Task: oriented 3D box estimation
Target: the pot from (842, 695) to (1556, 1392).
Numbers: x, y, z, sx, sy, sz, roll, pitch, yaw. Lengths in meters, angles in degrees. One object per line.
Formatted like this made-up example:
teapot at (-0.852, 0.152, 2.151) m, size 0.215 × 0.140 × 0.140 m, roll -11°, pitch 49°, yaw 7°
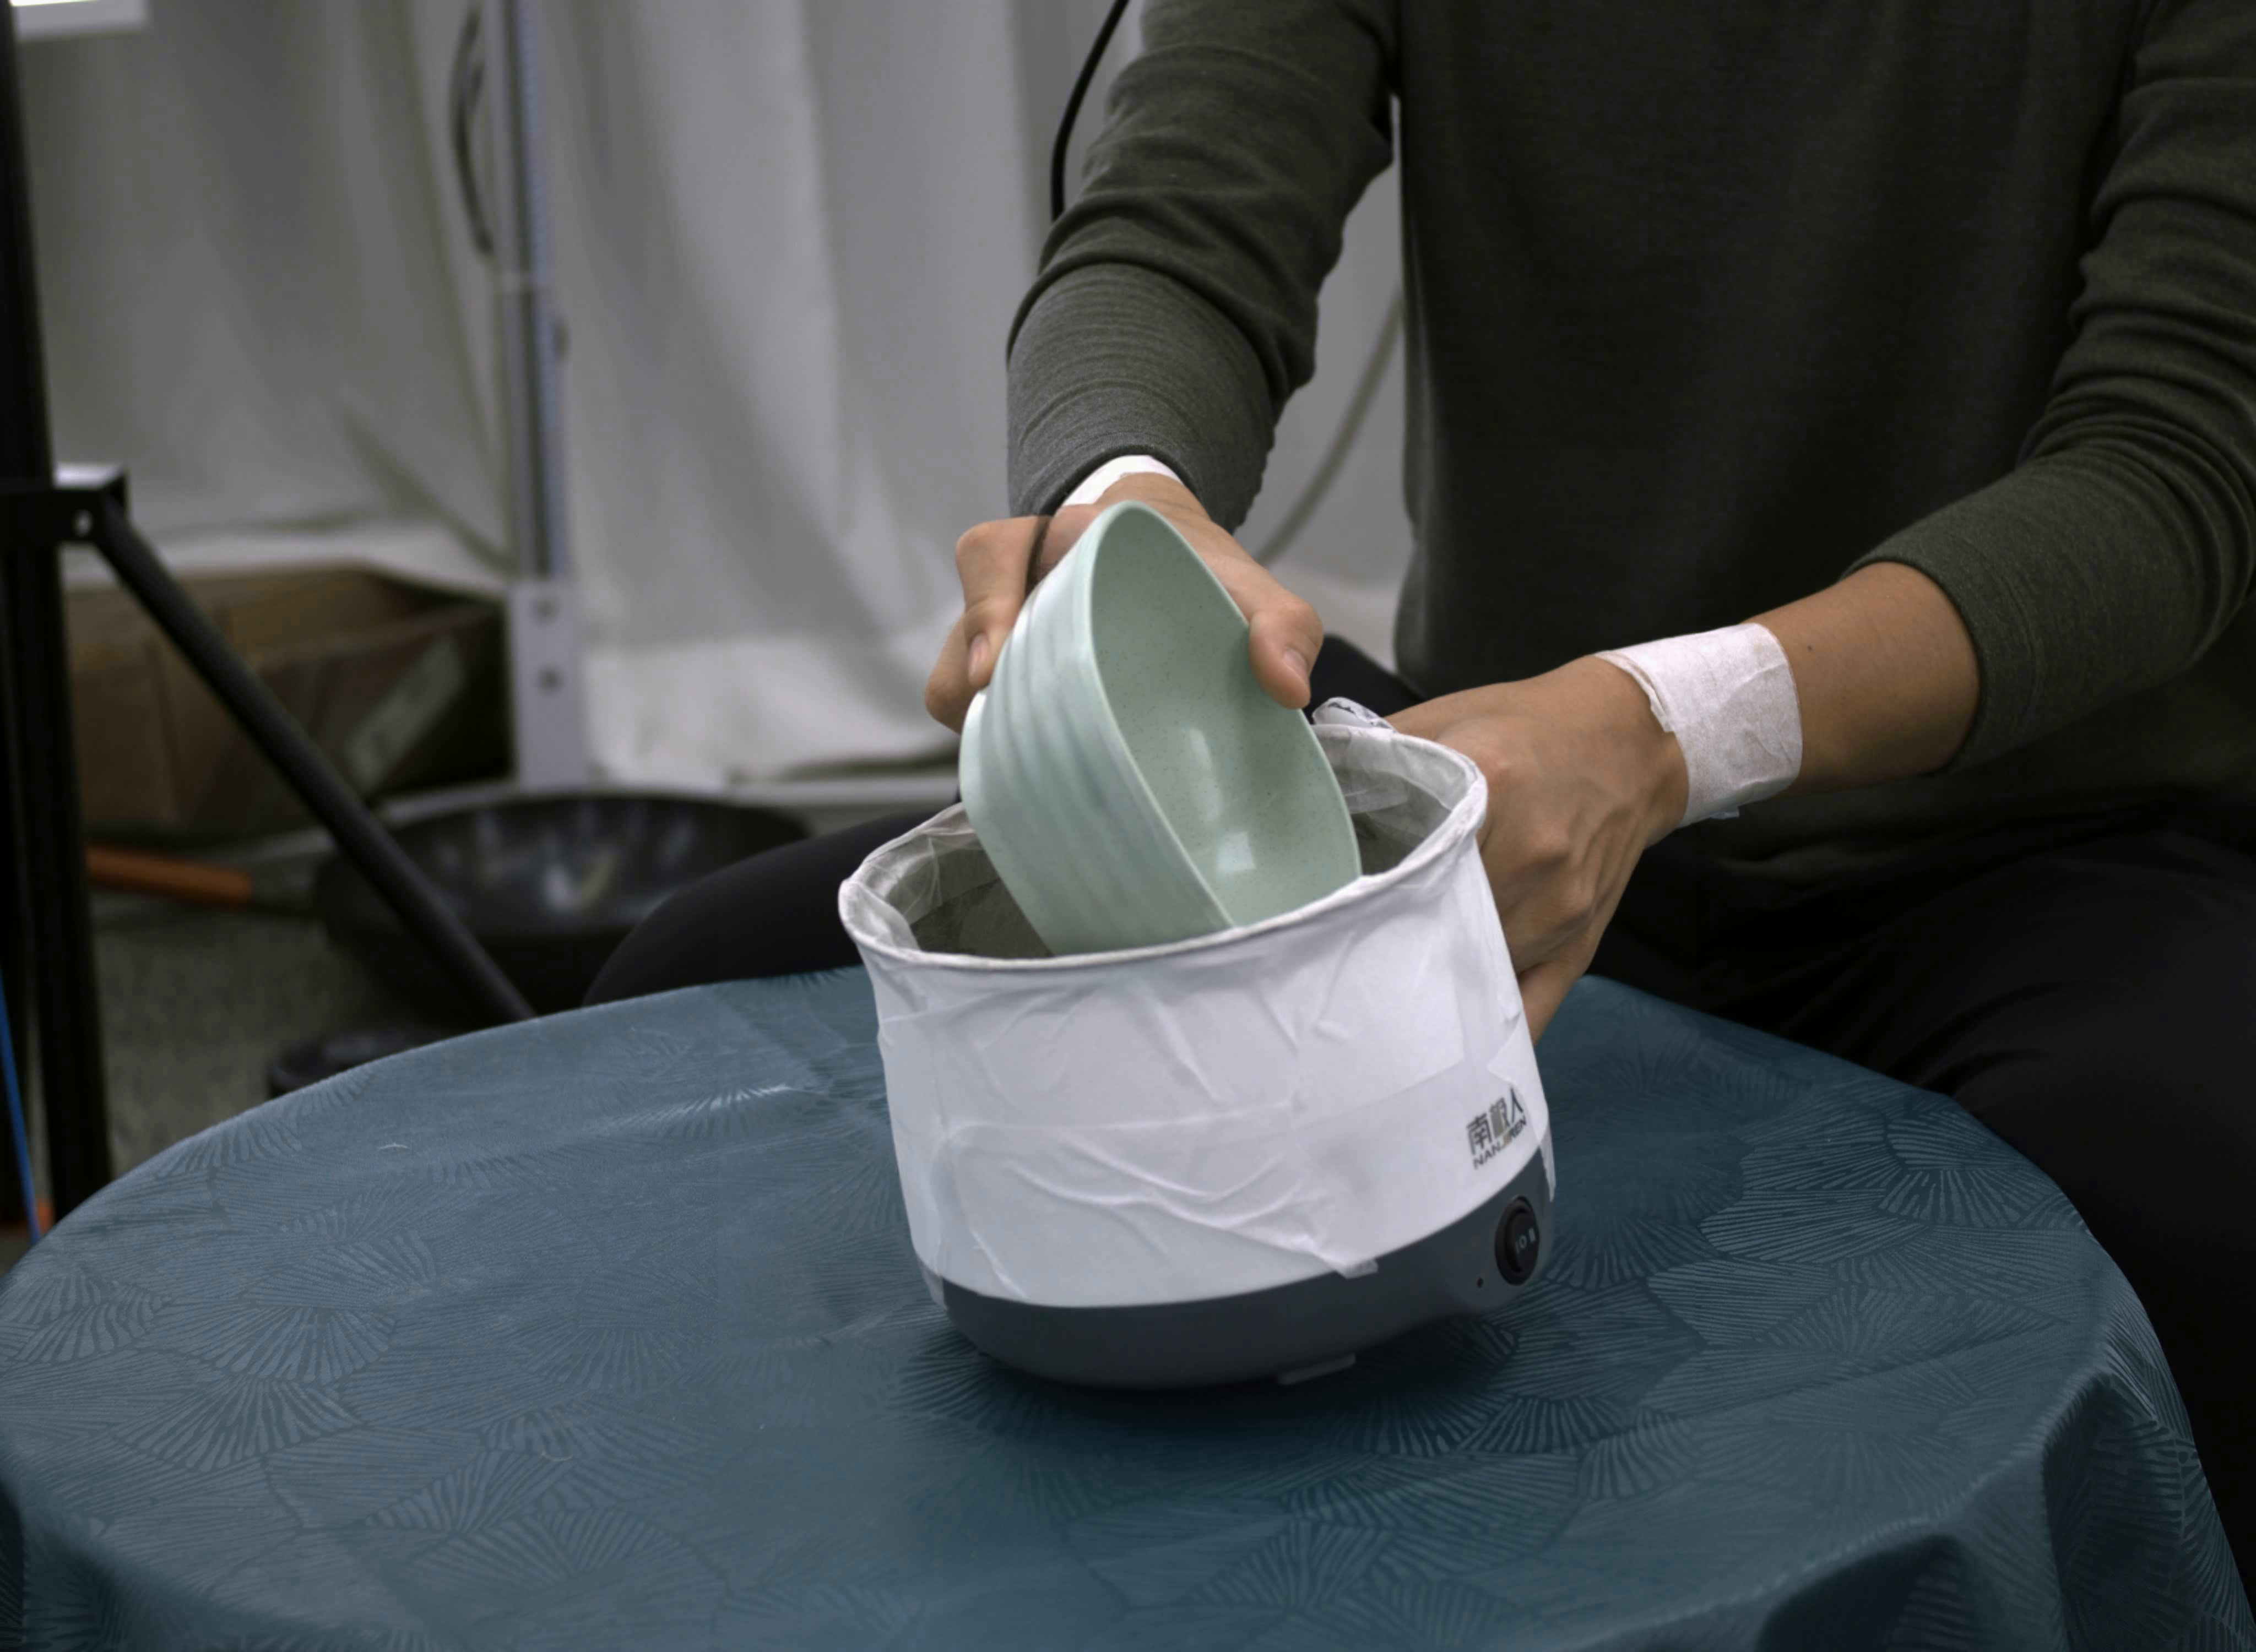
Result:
pot at (0.035, 0.053, 1.452) m, size 0.182 × 0.136 × 0.230 m, roll 0°, pitch 21°, yaw 33°

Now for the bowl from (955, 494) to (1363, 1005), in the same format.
bowl at (0.003, -0.008, 1.403) m, size 0.059 × 0.151 × 0.150 m, roll -26°, pitch 7°, yaw 22°
